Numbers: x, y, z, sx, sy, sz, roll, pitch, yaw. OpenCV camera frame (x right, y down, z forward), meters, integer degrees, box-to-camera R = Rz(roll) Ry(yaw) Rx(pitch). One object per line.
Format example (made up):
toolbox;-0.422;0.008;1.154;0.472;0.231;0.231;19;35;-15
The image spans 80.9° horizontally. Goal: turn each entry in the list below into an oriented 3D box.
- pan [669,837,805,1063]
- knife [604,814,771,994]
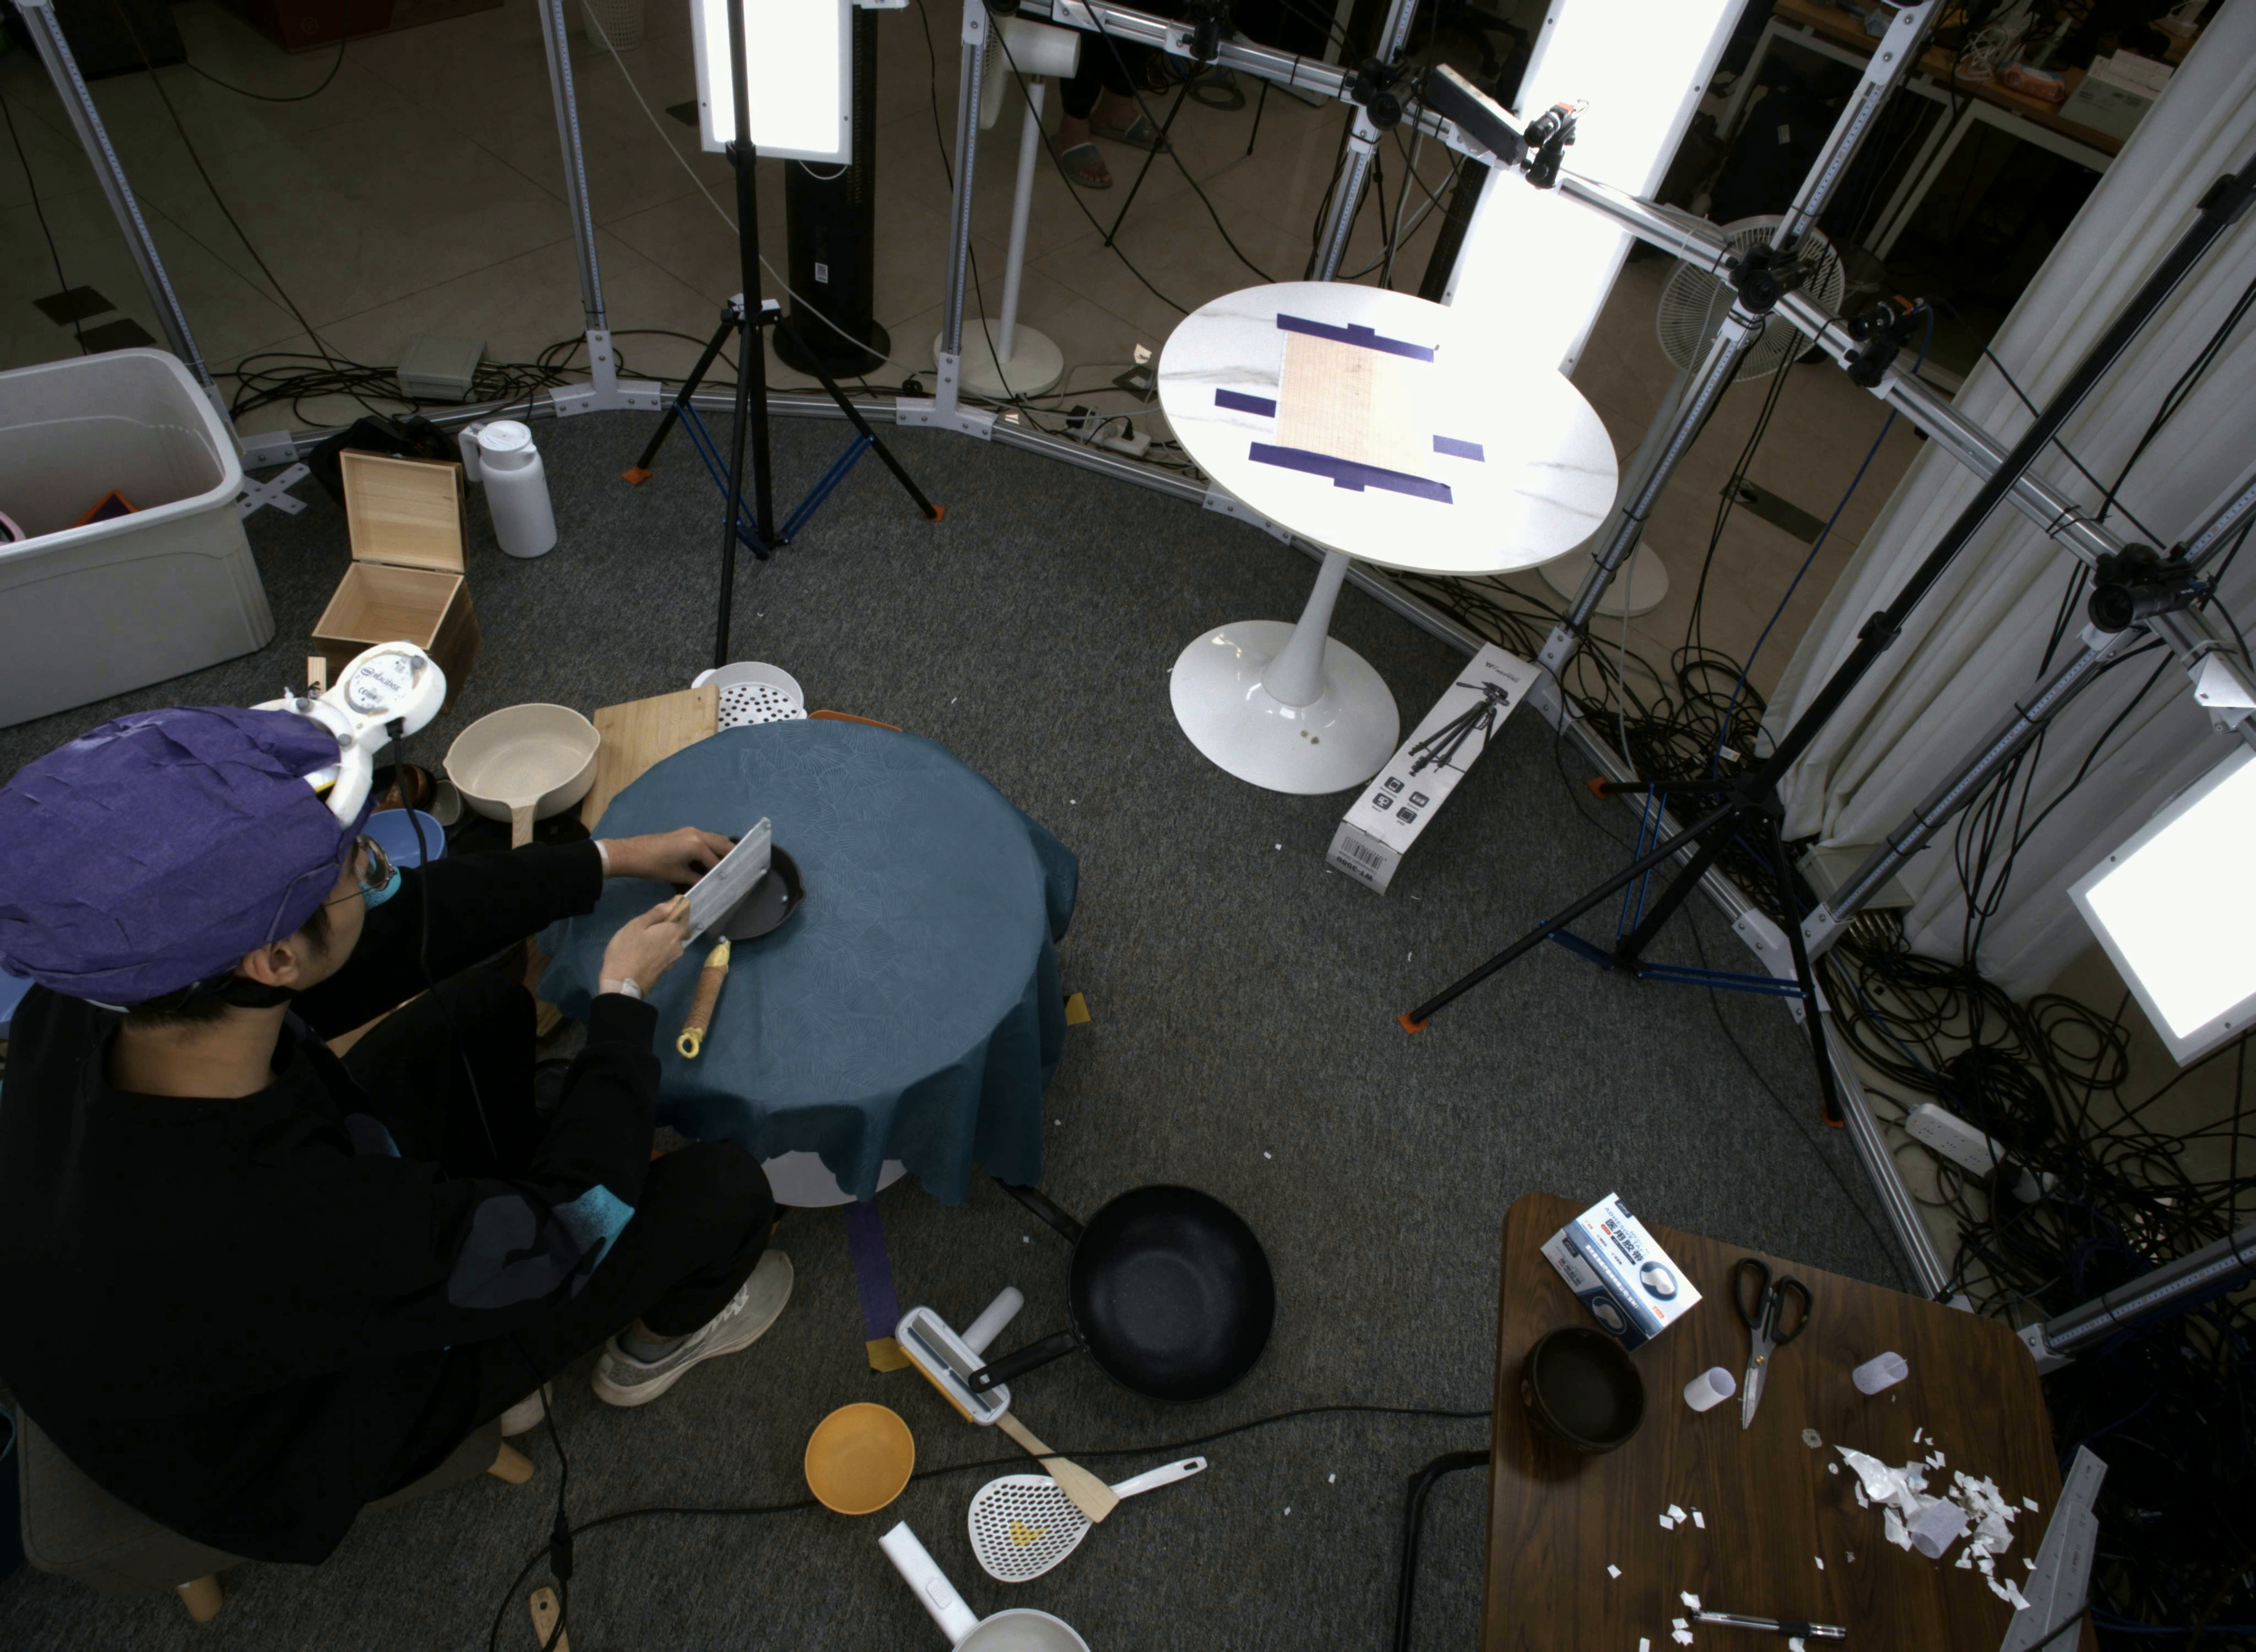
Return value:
pan;-0.491;0.144;1.555;0.168;0.050;0.318;10;51;-7
knife;-0.507;0.091;1.507;0.021;0.117;0.313;22;35;11
